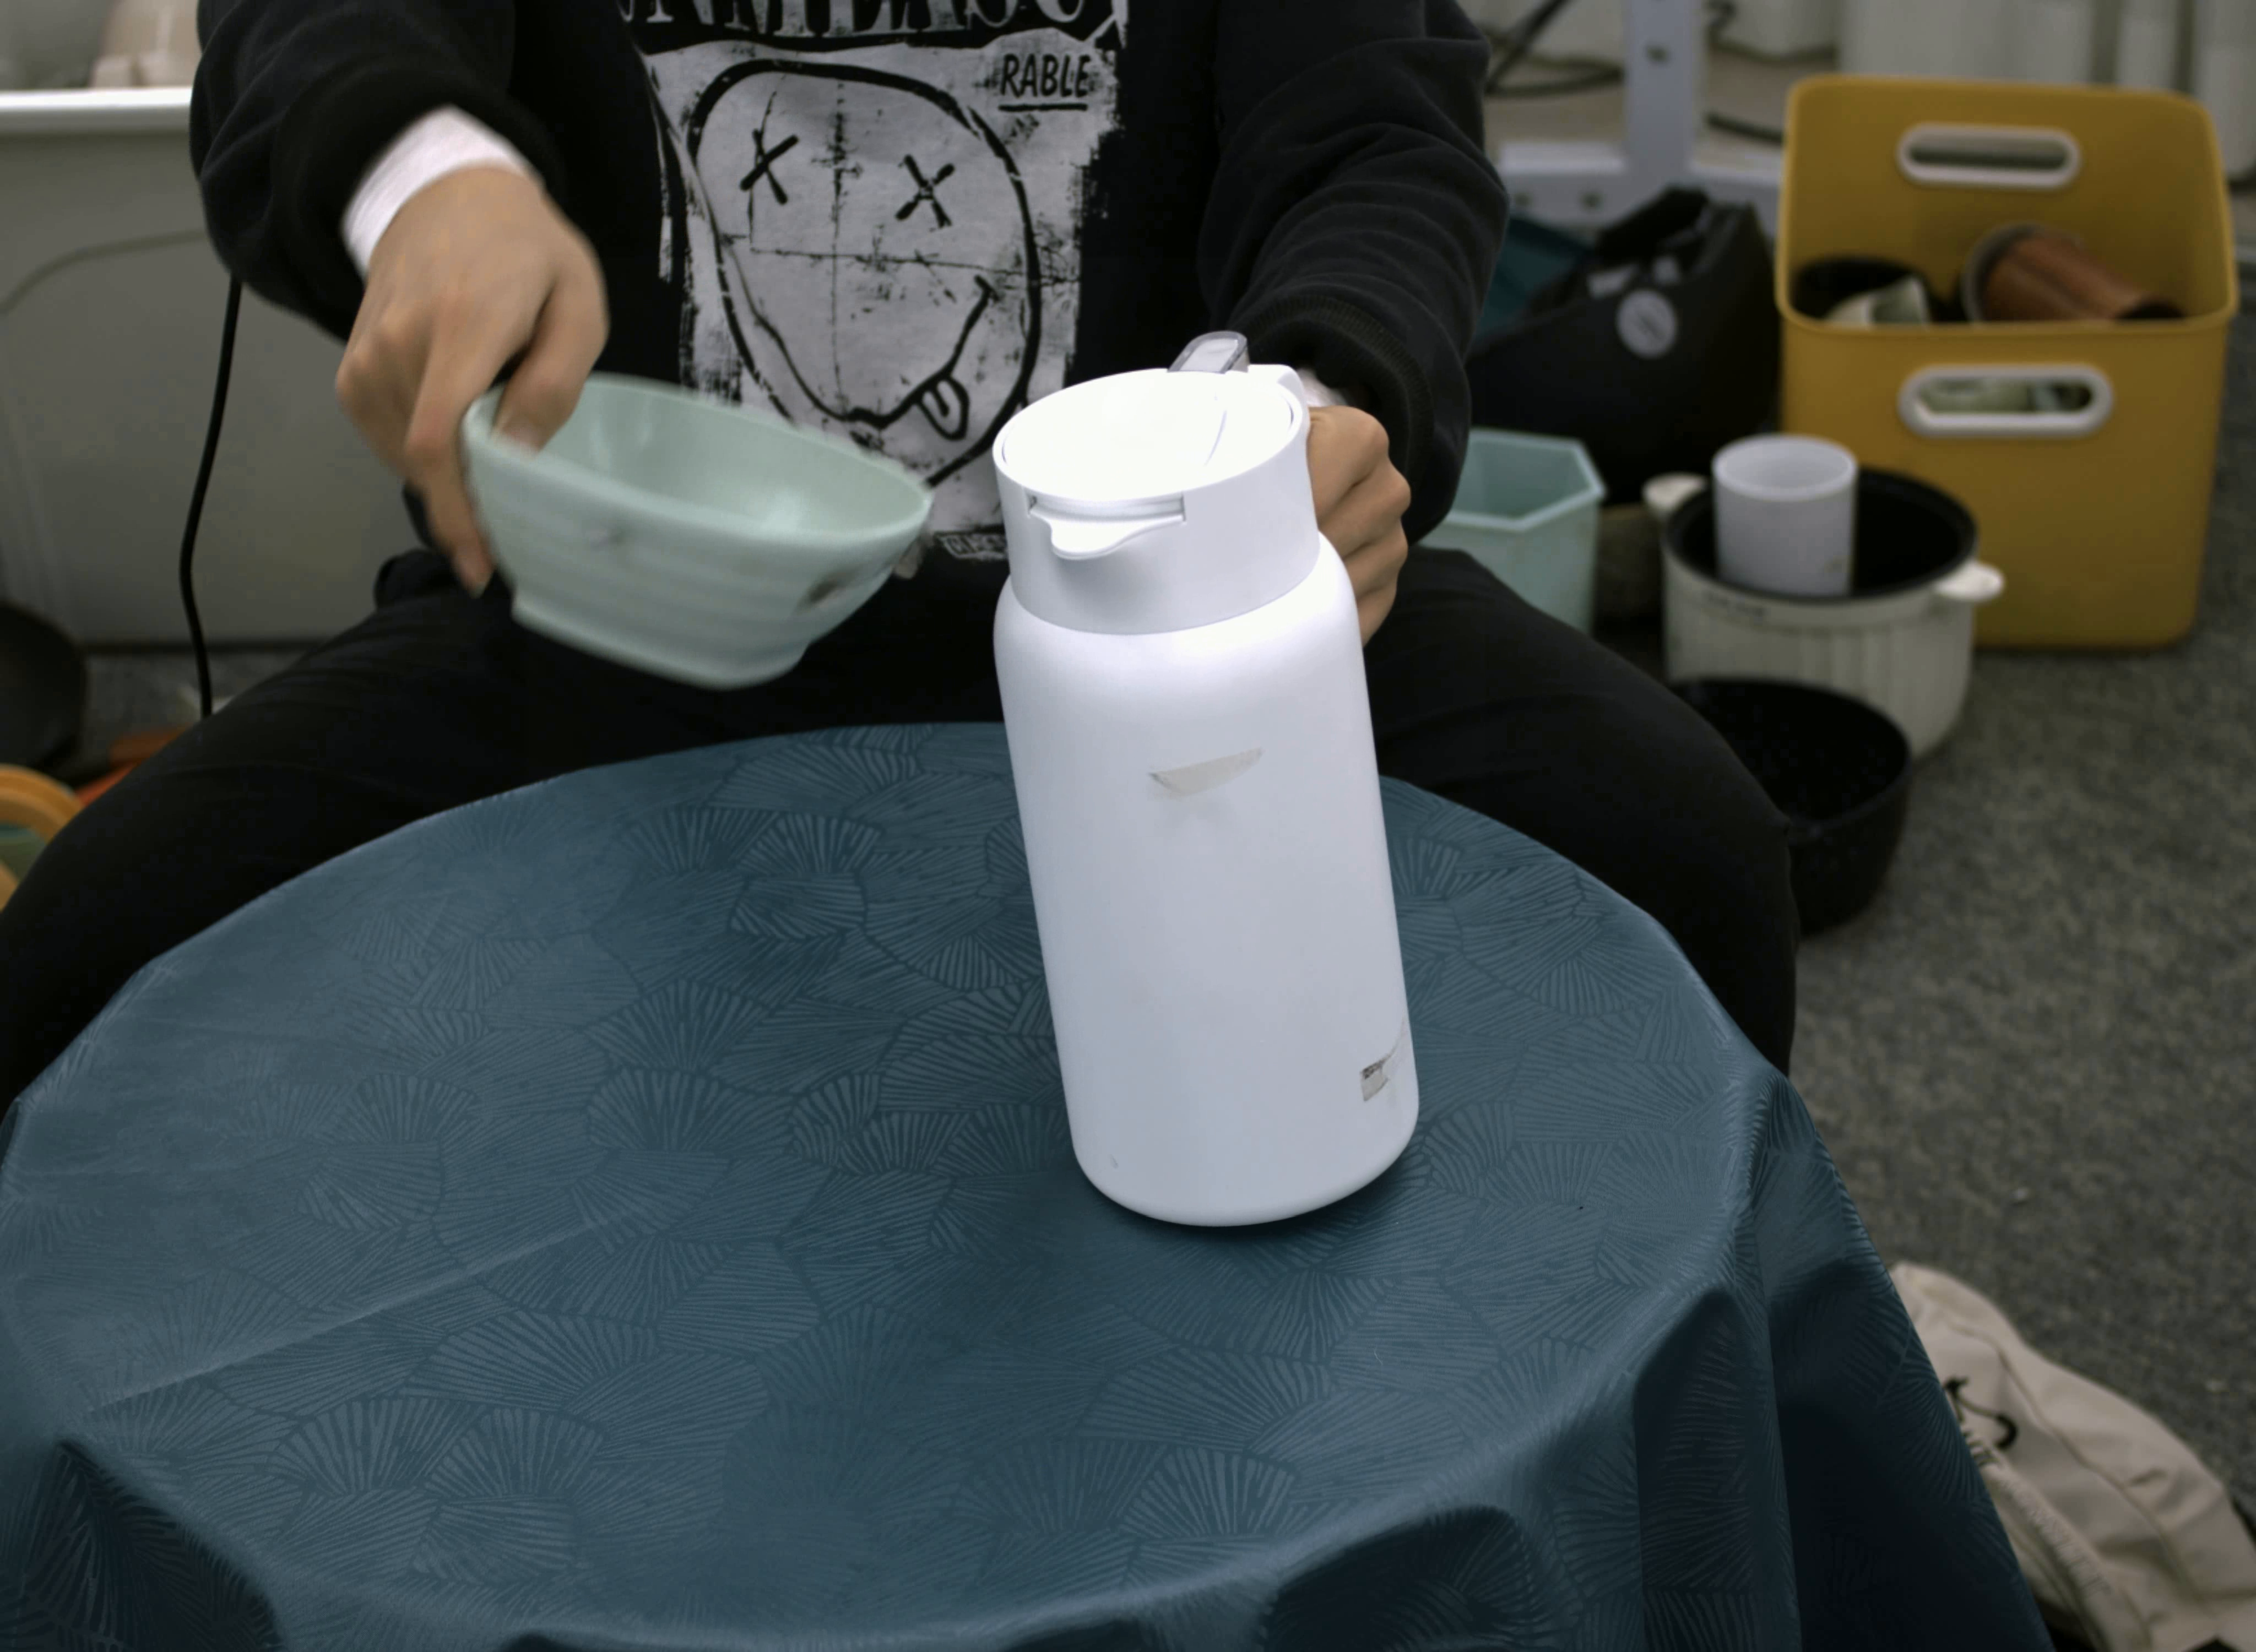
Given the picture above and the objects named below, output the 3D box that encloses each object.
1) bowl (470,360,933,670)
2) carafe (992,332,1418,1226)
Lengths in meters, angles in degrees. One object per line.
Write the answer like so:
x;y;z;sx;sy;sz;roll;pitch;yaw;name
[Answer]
-0.136;-0.092;1.726;0.151;0.058;0.153;15;15;-4;bowl
0.027;-0.019;1.834;0.123;0.266;0.176;0;27;21;carafe
